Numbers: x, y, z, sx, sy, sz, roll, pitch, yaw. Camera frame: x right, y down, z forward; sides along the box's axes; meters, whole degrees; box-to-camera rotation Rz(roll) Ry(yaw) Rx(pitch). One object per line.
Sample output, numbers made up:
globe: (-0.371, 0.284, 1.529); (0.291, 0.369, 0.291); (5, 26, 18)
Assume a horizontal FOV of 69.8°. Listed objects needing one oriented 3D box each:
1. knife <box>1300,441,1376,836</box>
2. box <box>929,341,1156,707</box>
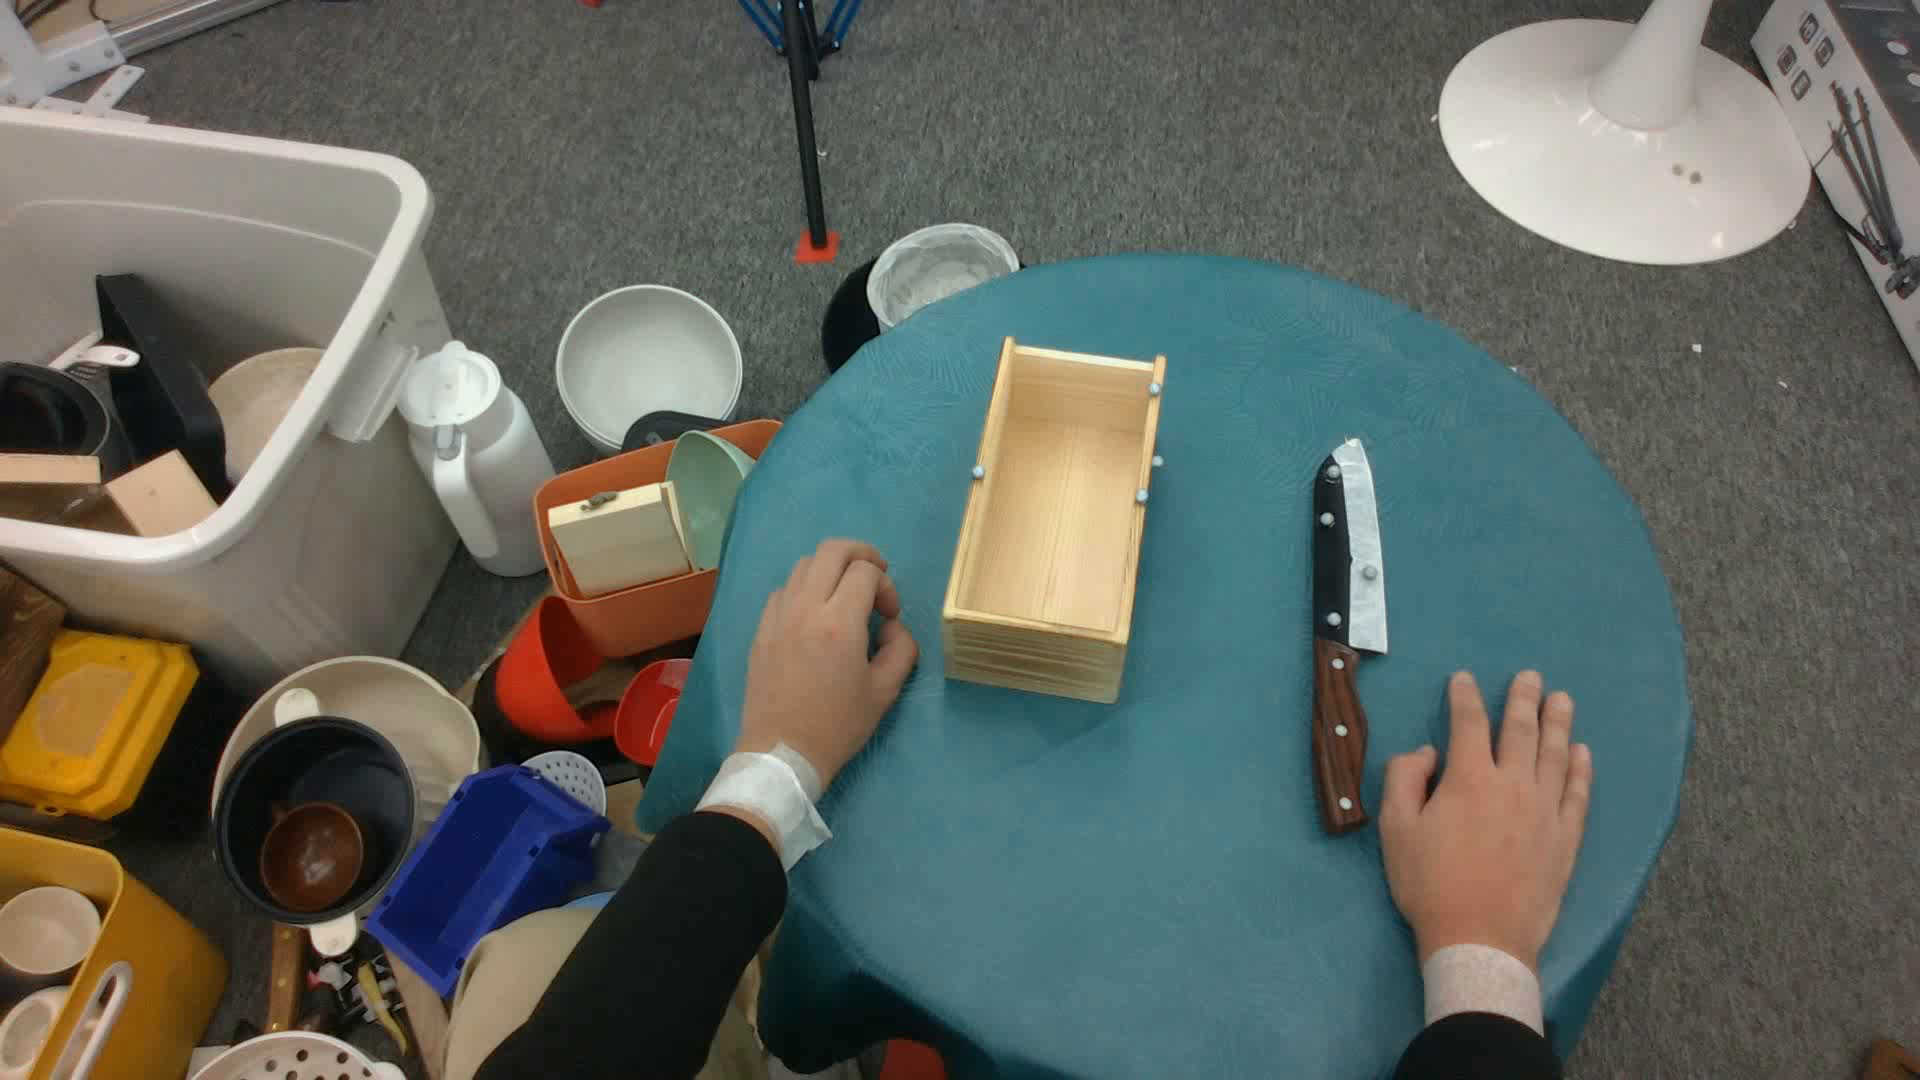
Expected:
knife: (0.232, 0.048, 0.848); (0.050, 0.020, 0.290); (11, 55, 2)
box: (0.054, -0.014, 0.852); (0.107, 0.080, 0.212); (8, 57, 6)
